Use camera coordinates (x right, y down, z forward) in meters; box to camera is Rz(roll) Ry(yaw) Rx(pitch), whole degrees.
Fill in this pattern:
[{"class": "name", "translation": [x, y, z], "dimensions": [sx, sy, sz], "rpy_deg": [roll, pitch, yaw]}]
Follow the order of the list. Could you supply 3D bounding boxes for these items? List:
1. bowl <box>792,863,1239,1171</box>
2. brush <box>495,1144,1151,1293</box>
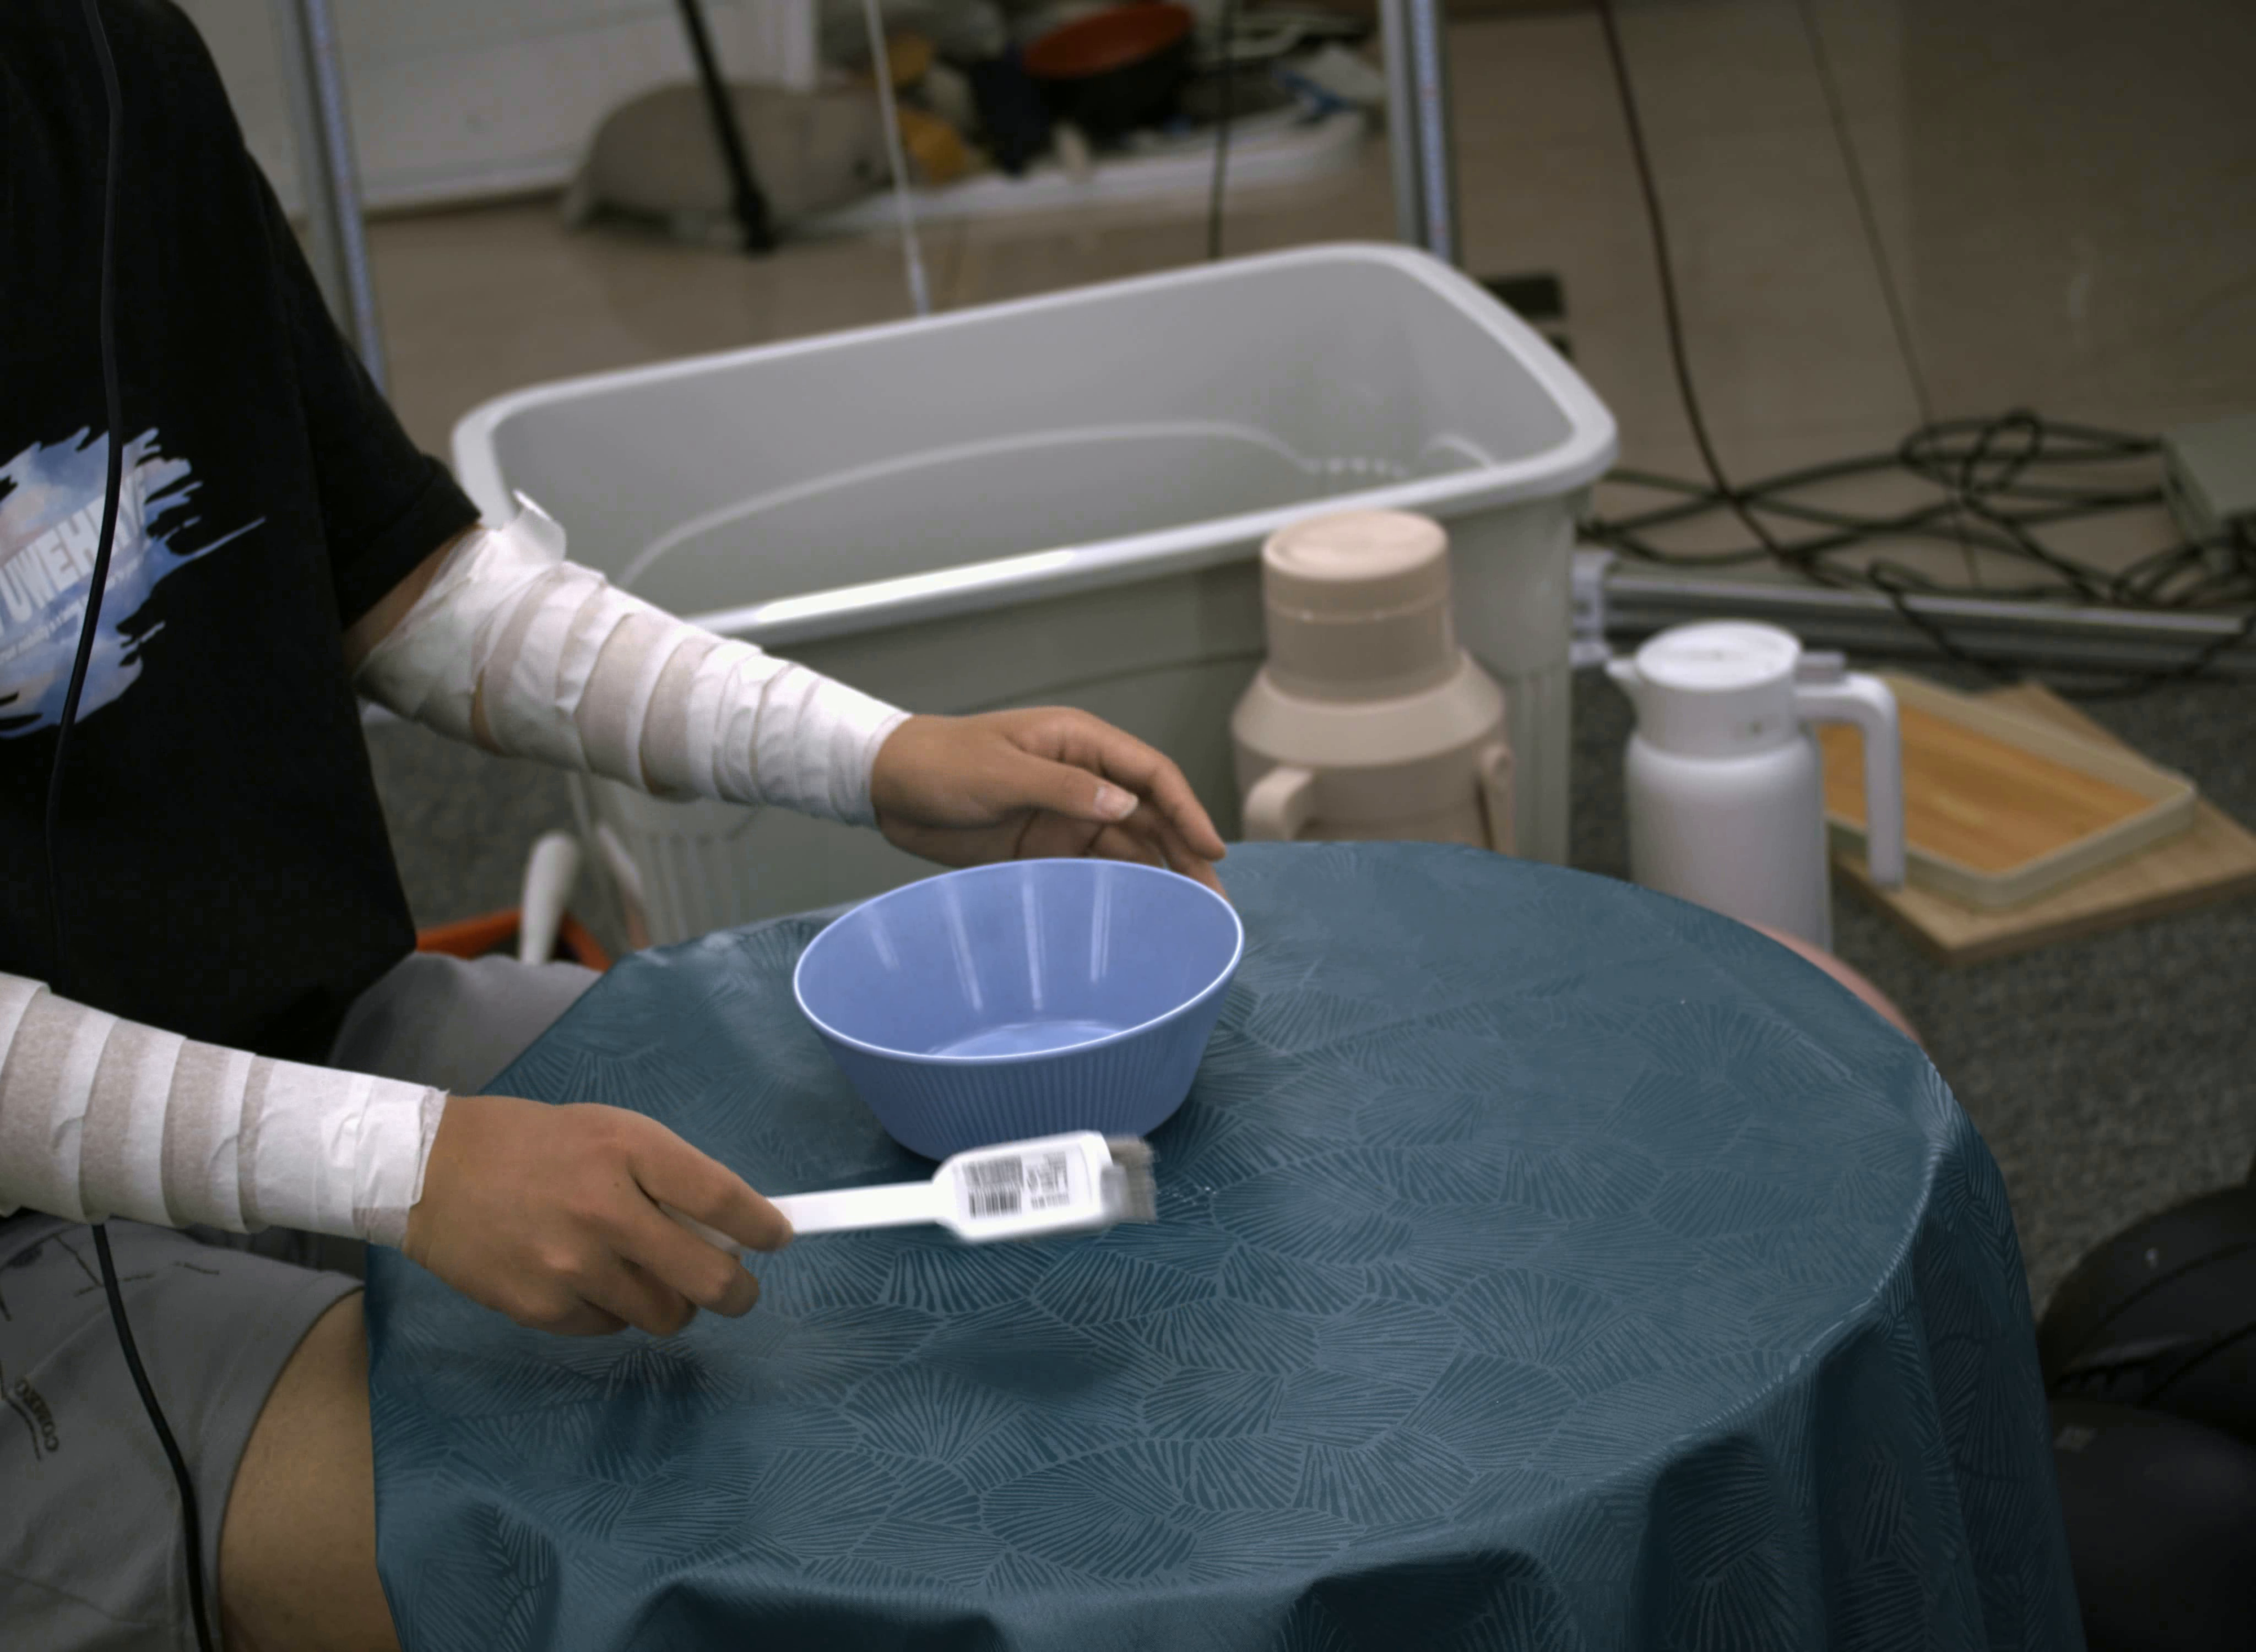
[{"class": "bowl", "translation": [-0.040, 0.080, 2.201], "dimensions": [0.176, 0.071, 0.173], "rpy_deg": [-6, 24, 3]}, {"class": "brush", "translation": [-0.109, 0.143, 2.046], "dimensions": [0.243, 0.034, 0.050], "rpy_deg": [-8, 0, 17]}]
